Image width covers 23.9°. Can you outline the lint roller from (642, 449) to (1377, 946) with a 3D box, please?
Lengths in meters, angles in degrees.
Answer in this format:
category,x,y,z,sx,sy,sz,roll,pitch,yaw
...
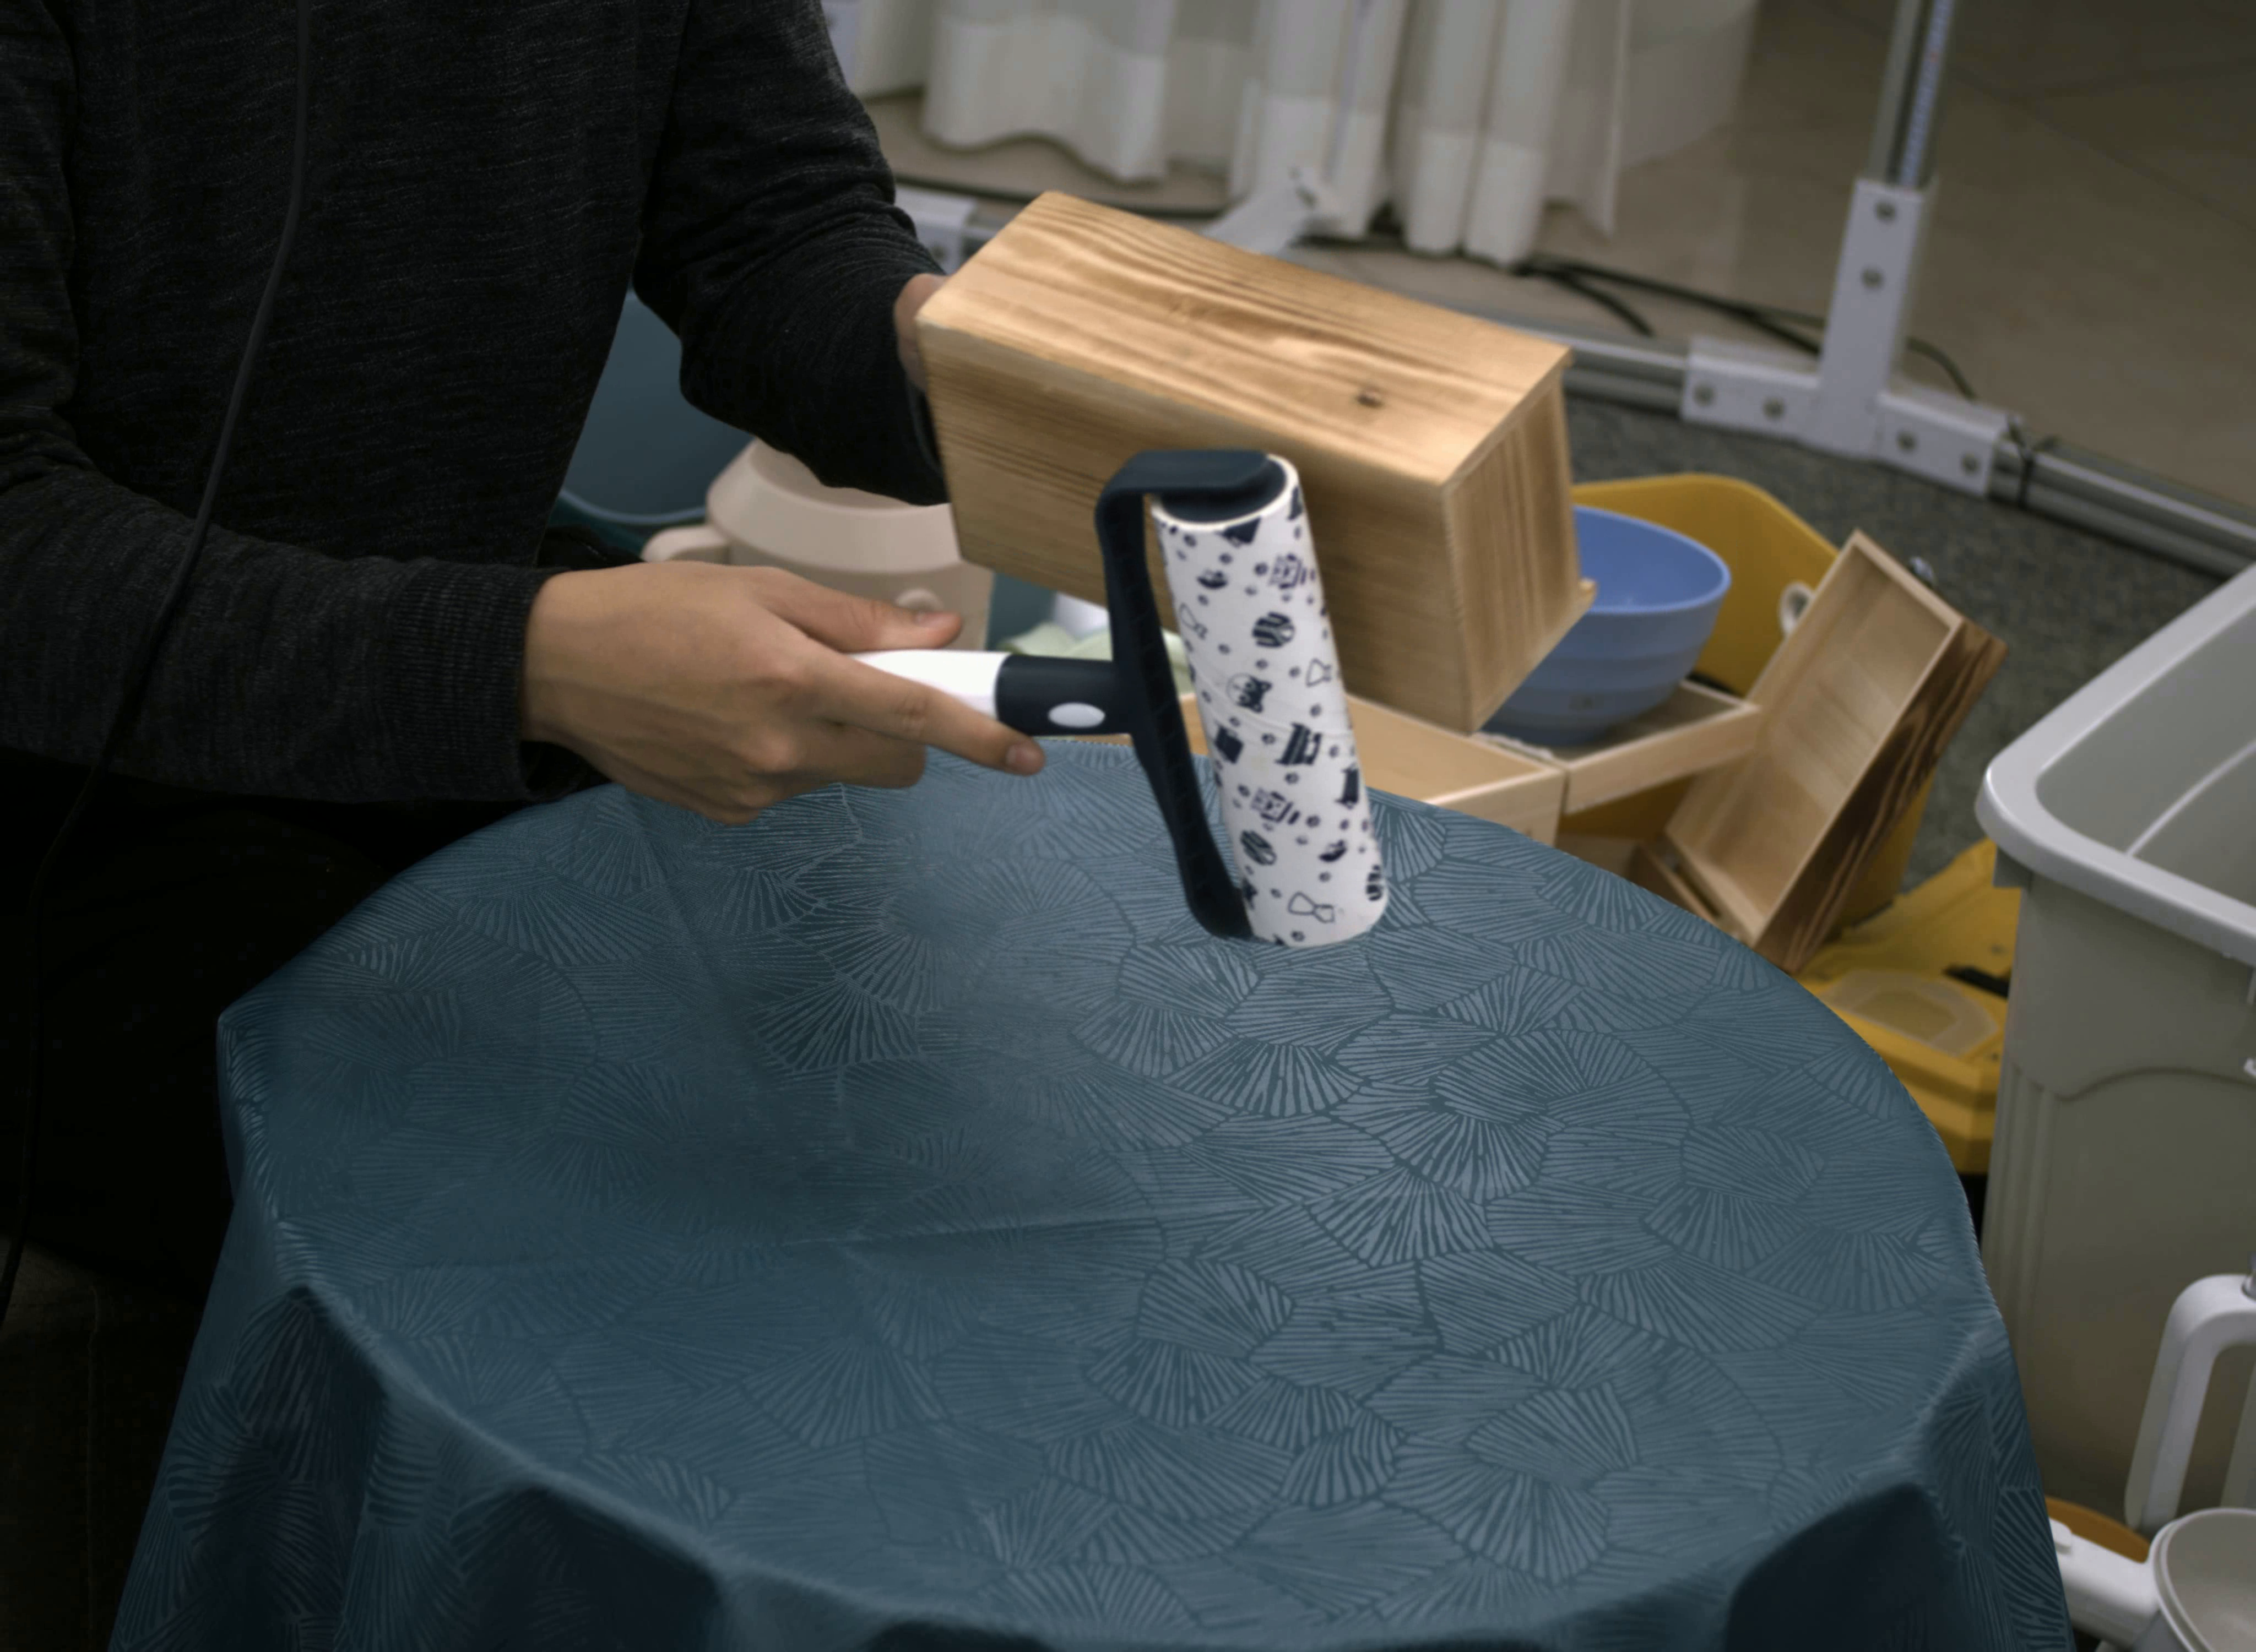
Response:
category,x,y,z,sx,sy,sz,roll,pitch,yaw
lint roller,-0.049,-0.039,1.728,0.247,0.175,0.050,-1,34,23

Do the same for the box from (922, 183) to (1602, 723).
category,x,y,z,sx,sy,sz,roll,pitch,yaw
box,0.044,-0.126,1.764,0.212,0.107,0.080,20,48,31
